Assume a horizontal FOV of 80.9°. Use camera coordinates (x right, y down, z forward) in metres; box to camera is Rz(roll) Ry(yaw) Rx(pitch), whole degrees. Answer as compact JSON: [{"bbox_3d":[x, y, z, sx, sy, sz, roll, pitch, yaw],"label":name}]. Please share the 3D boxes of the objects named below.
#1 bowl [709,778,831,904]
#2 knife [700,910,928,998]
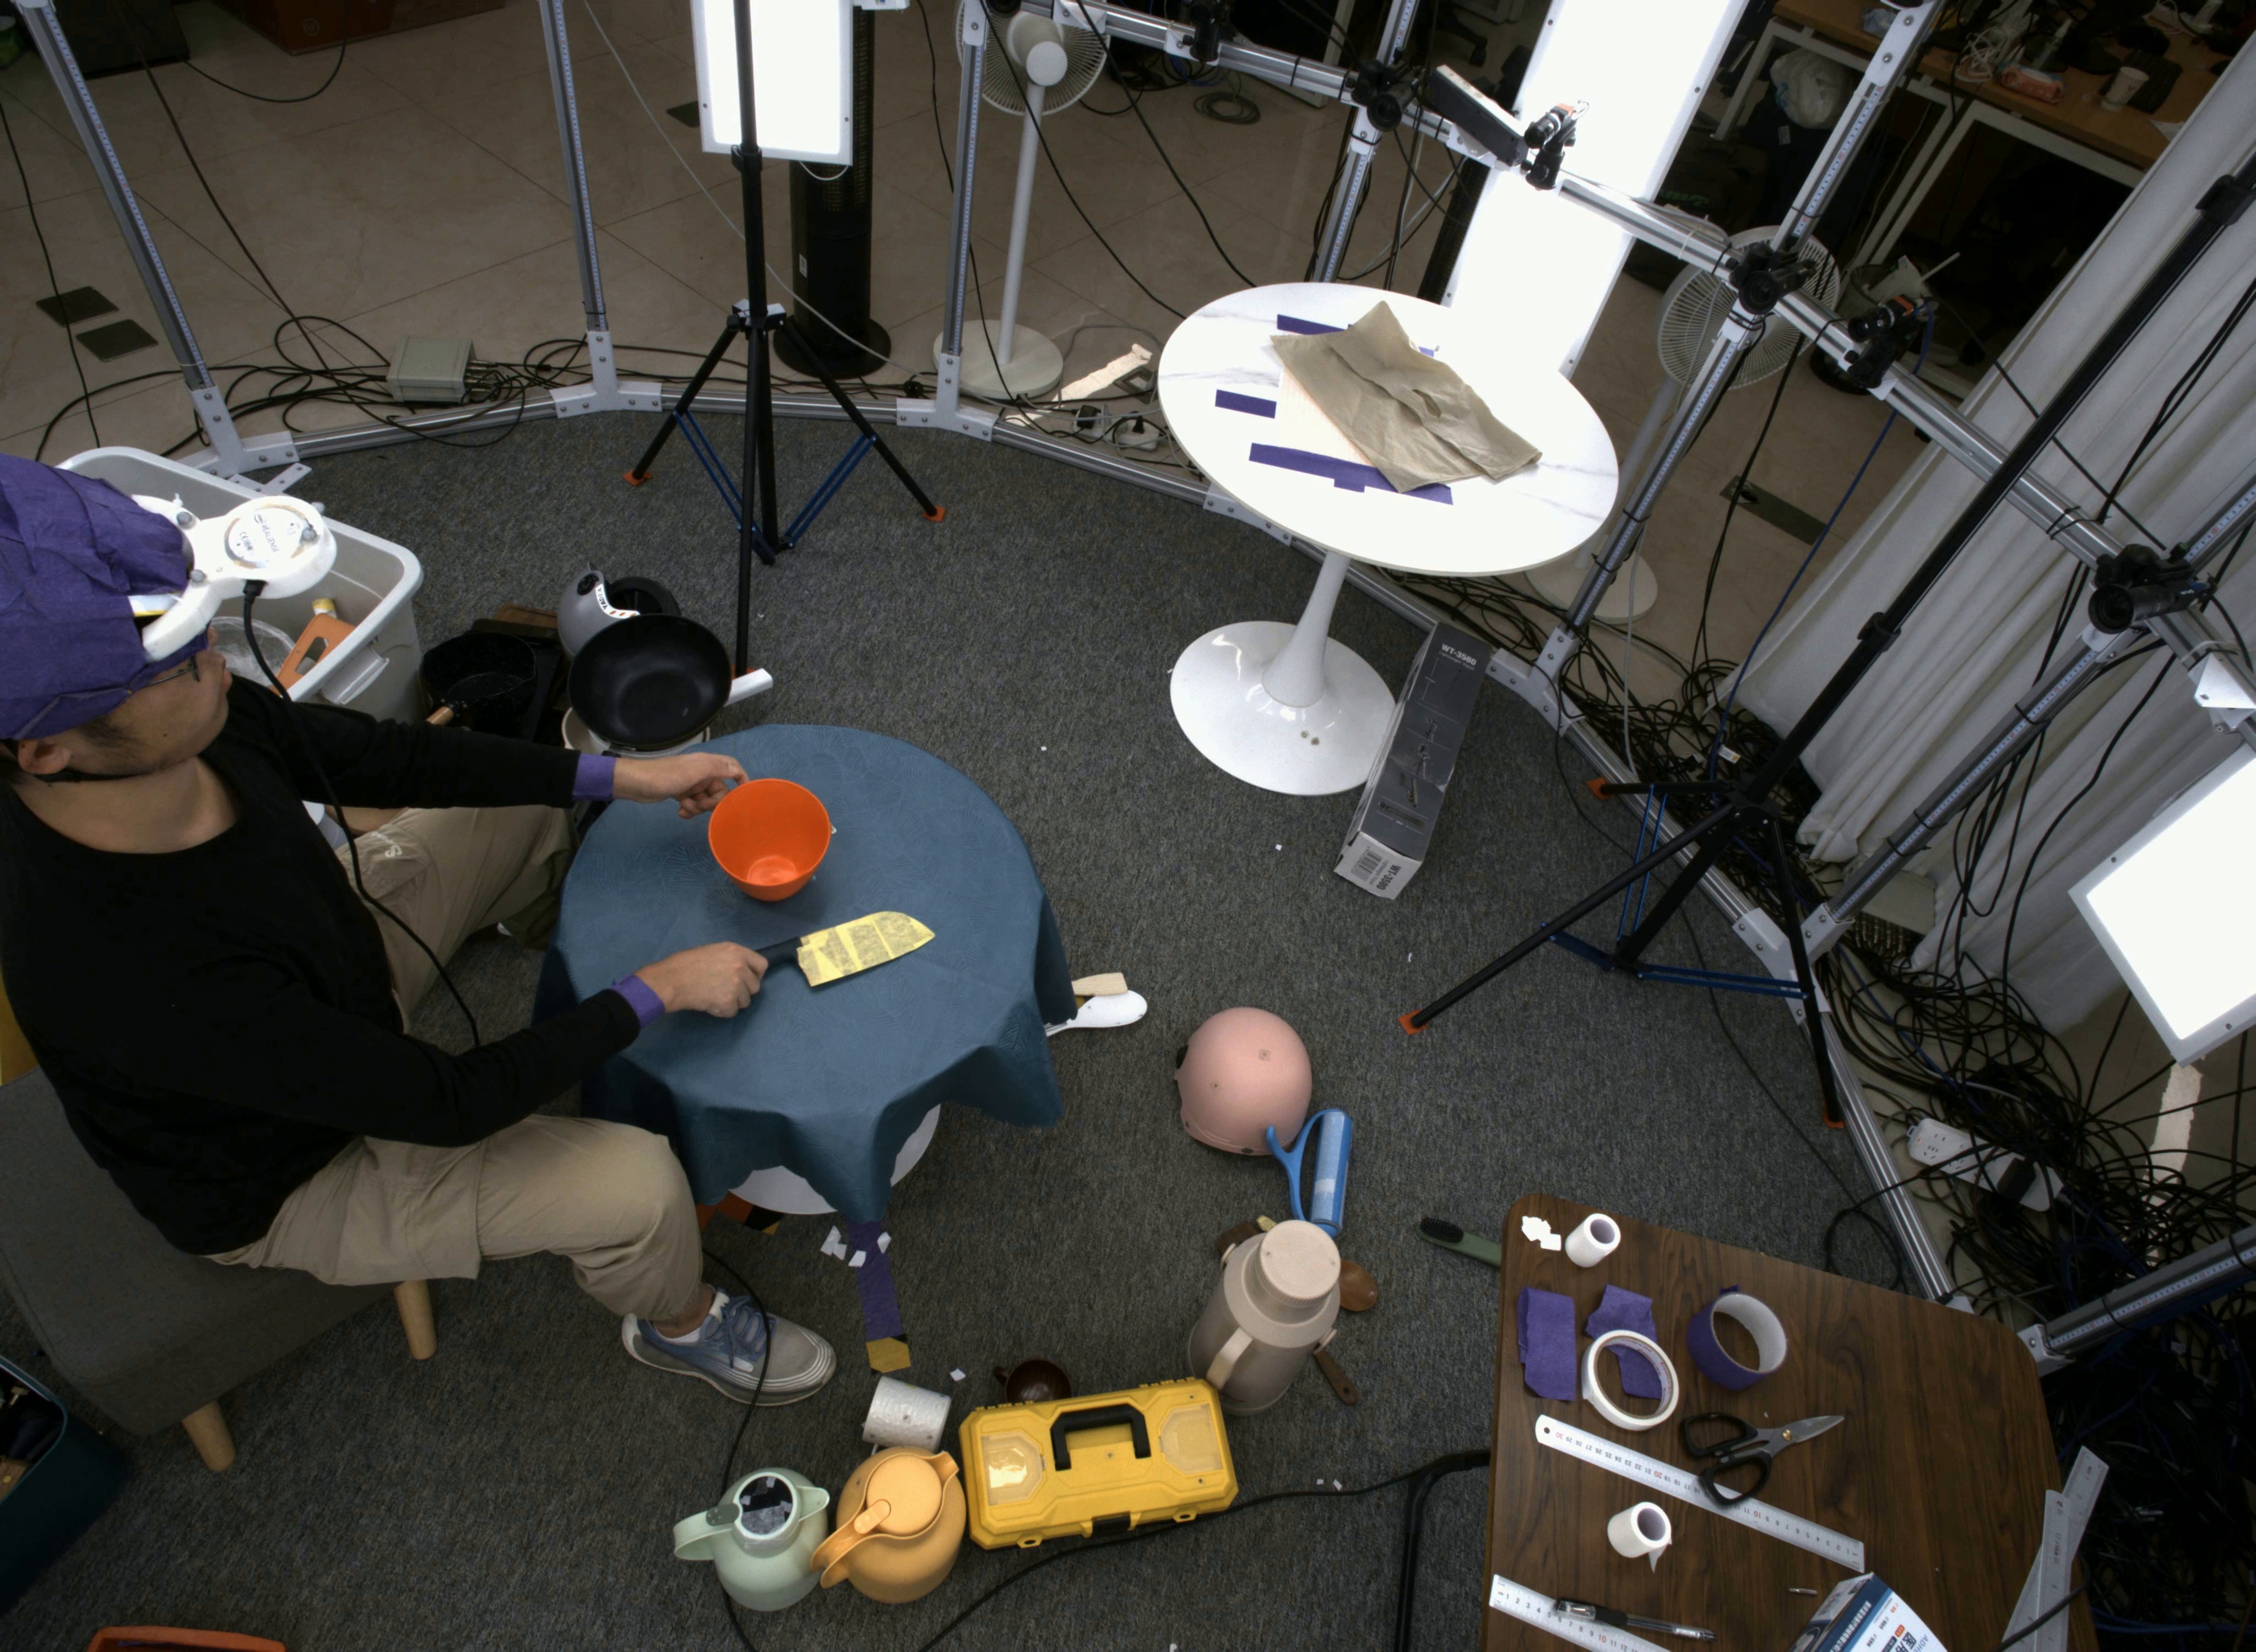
[{"bbox_3d":[-0.448,0.029,1.628,0.148,0.107,0.145,8,53,-9],"label":"bowl"},{"bbox_3d":[-0.382,0.161,1.603,0.291,0.028,0.079,-17,56,-26],"label":"knife"}]
